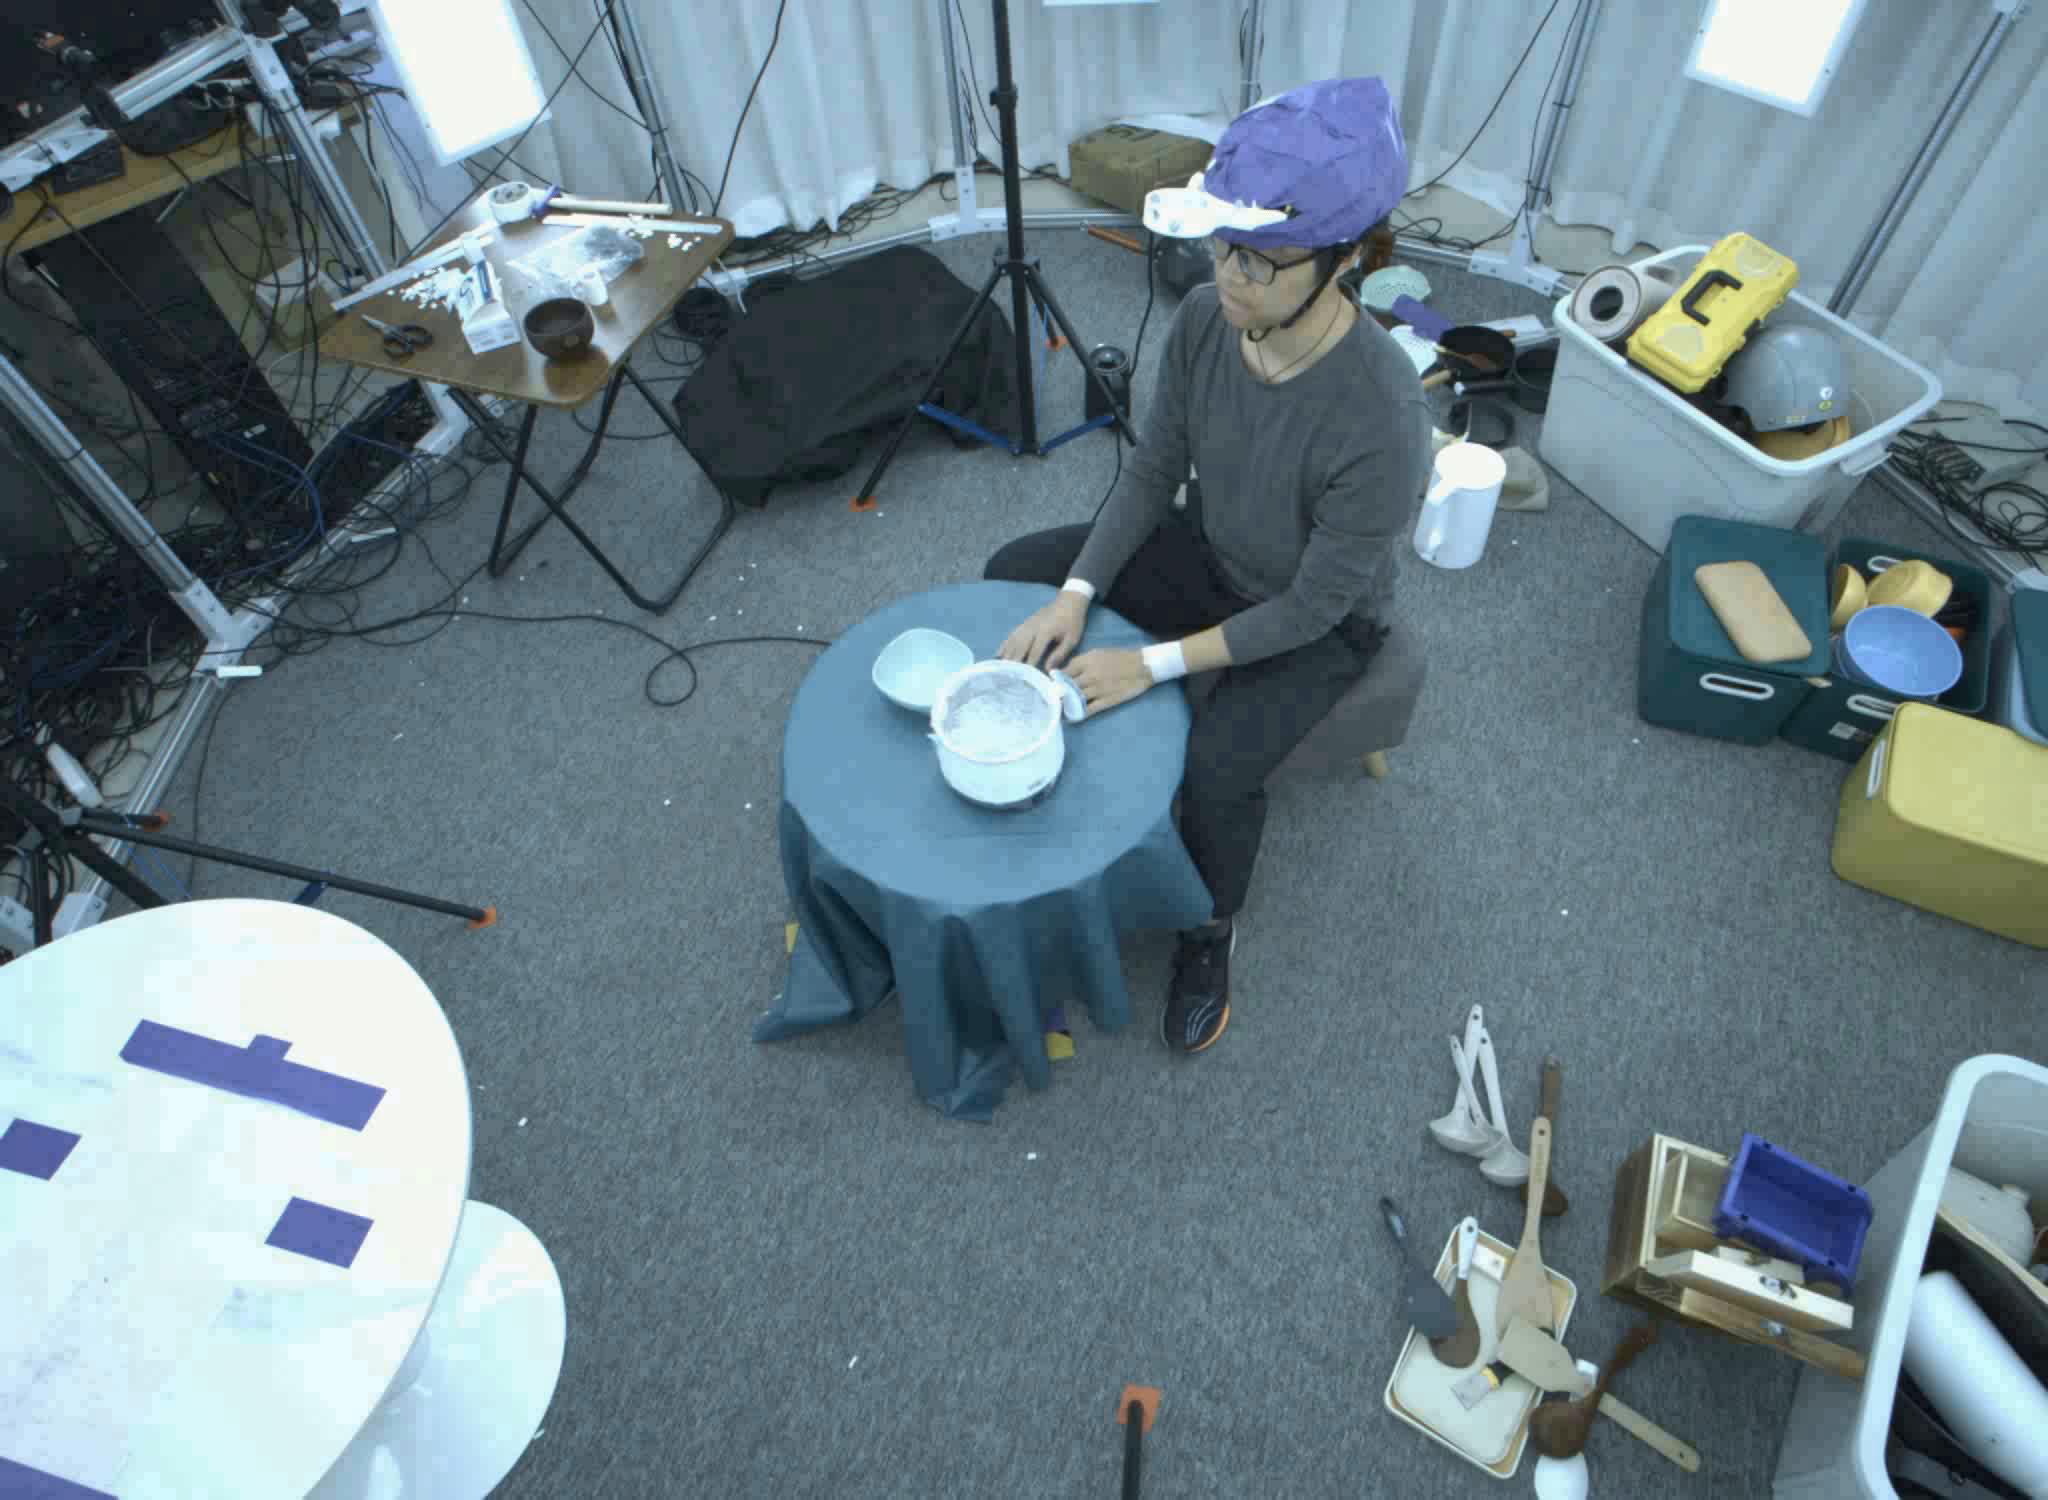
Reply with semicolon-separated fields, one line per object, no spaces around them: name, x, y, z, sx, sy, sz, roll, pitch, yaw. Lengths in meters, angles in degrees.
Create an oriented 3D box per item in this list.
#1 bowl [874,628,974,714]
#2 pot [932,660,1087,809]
bowl;-0.147;-0.108;1.841;0.151;0.059;0.150;-1;56;3
pot;-0.012;-0.031;1.734;0.235;0.138;0.175;-33;59;-20
